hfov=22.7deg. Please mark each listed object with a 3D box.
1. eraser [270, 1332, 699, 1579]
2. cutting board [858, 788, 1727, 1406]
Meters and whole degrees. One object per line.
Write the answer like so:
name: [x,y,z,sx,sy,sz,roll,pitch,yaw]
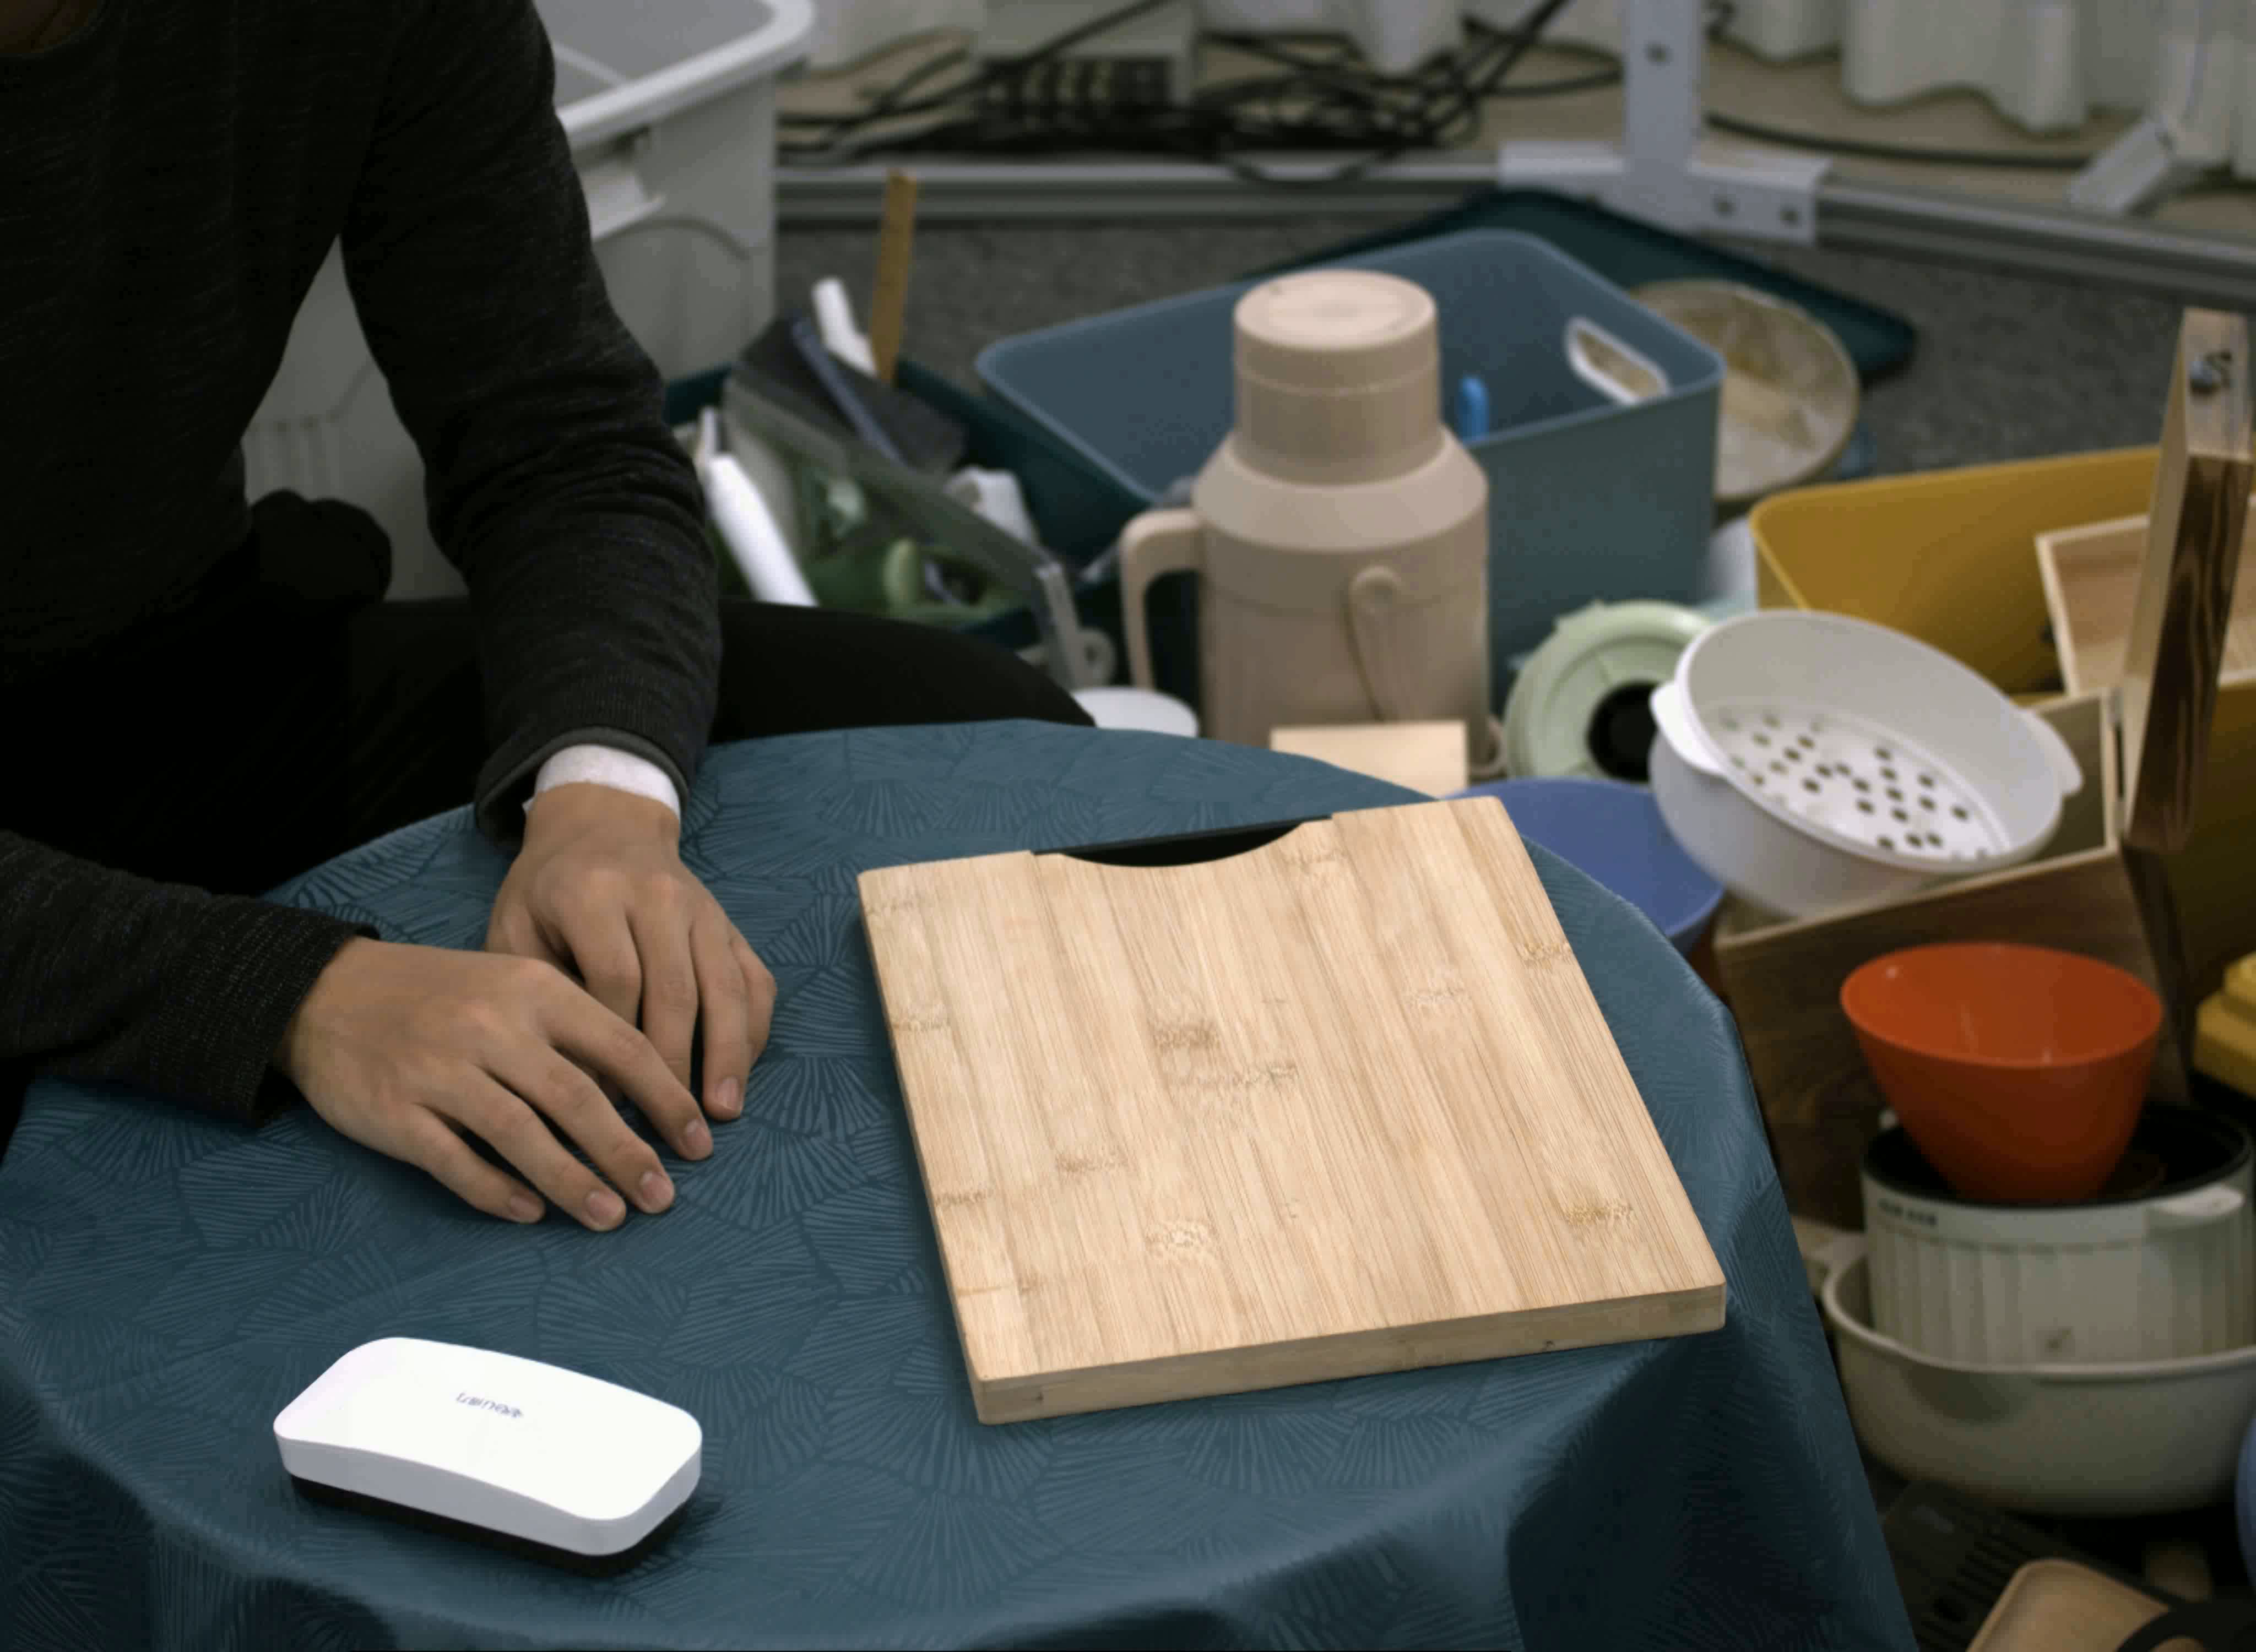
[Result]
eraser: [-0.196,0.190,1.715,0.130,0.034,0.064,13,32,25]
cutting board: [0.045,0.086,1.908,0.250,0.023,0.353,-7,28,-8]
